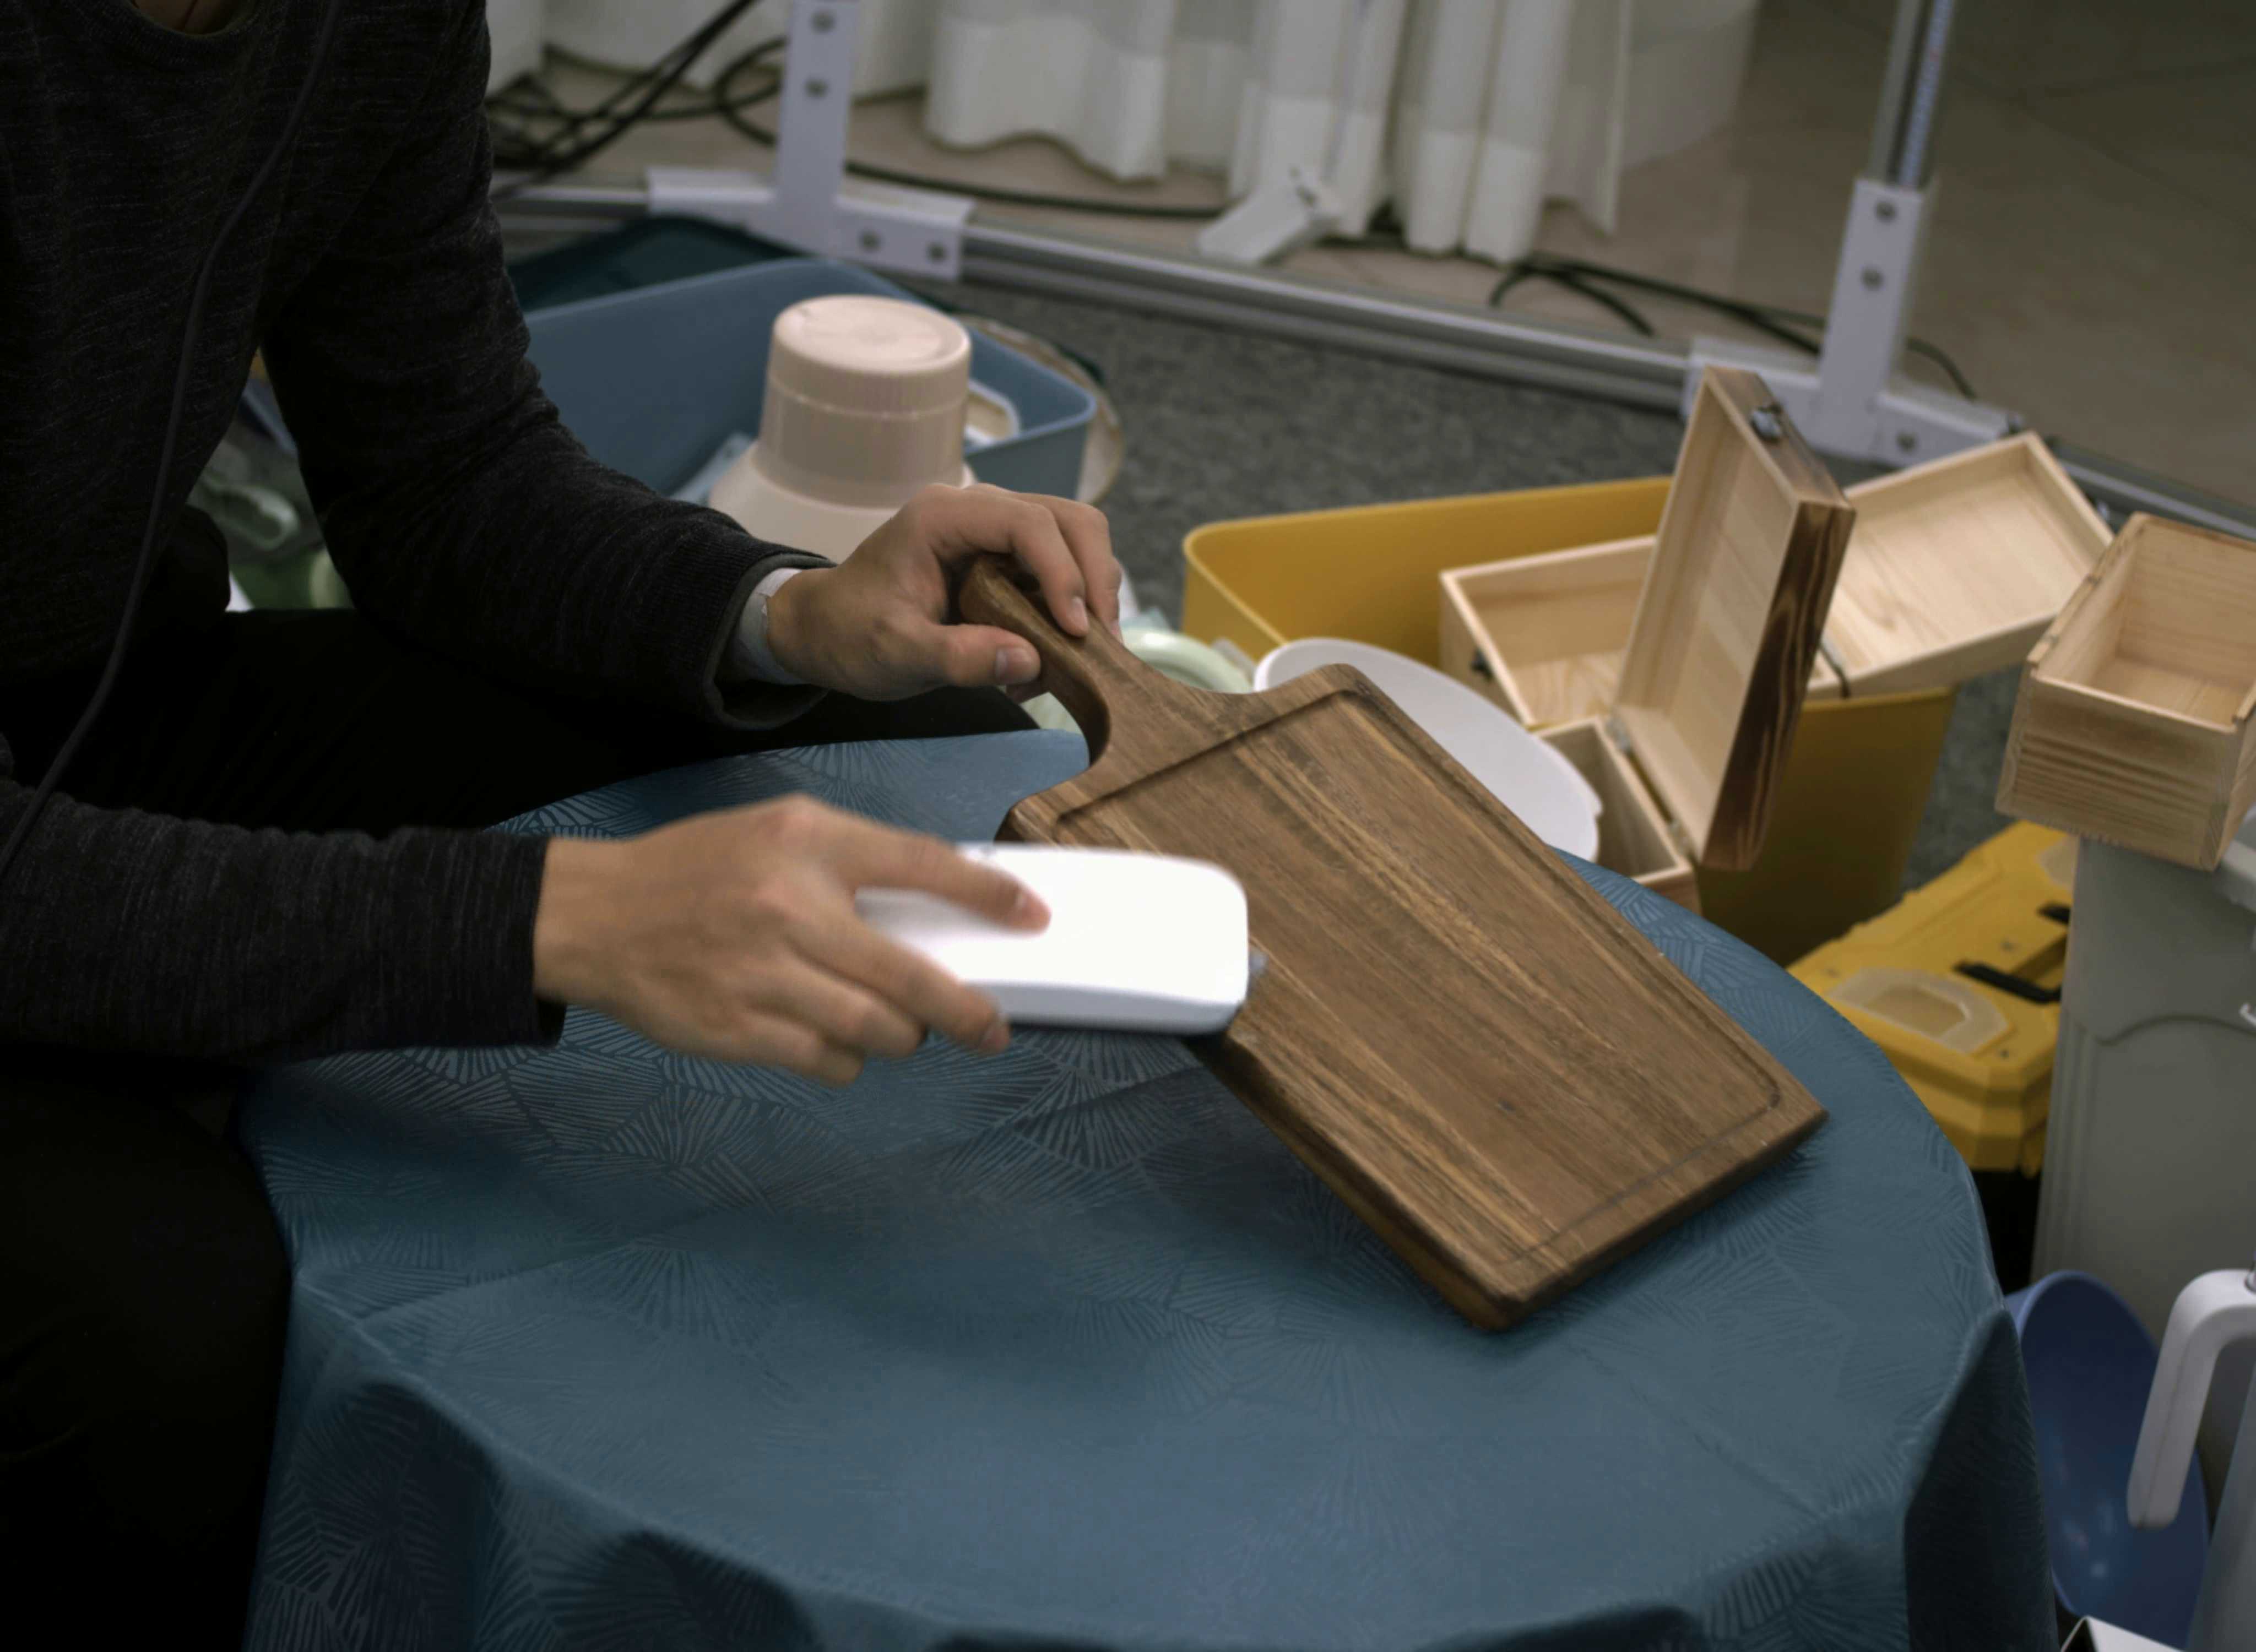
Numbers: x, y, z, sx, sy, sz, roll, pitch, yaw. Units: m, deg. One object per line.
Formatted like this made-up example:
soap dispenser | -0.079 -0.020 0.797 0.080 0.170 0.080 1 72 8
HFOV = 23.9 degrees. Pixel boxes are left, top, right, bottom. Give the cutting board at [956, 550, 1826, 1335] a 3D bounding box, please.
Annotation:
cutting board | 0.067 0.021 1.864 0.354 0.023 0.200 44 41 21

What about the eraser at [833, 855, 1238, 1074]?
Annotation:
eraser | -0.030 0.045 1.734 0.131 0.034 0.064 6 43 -1
